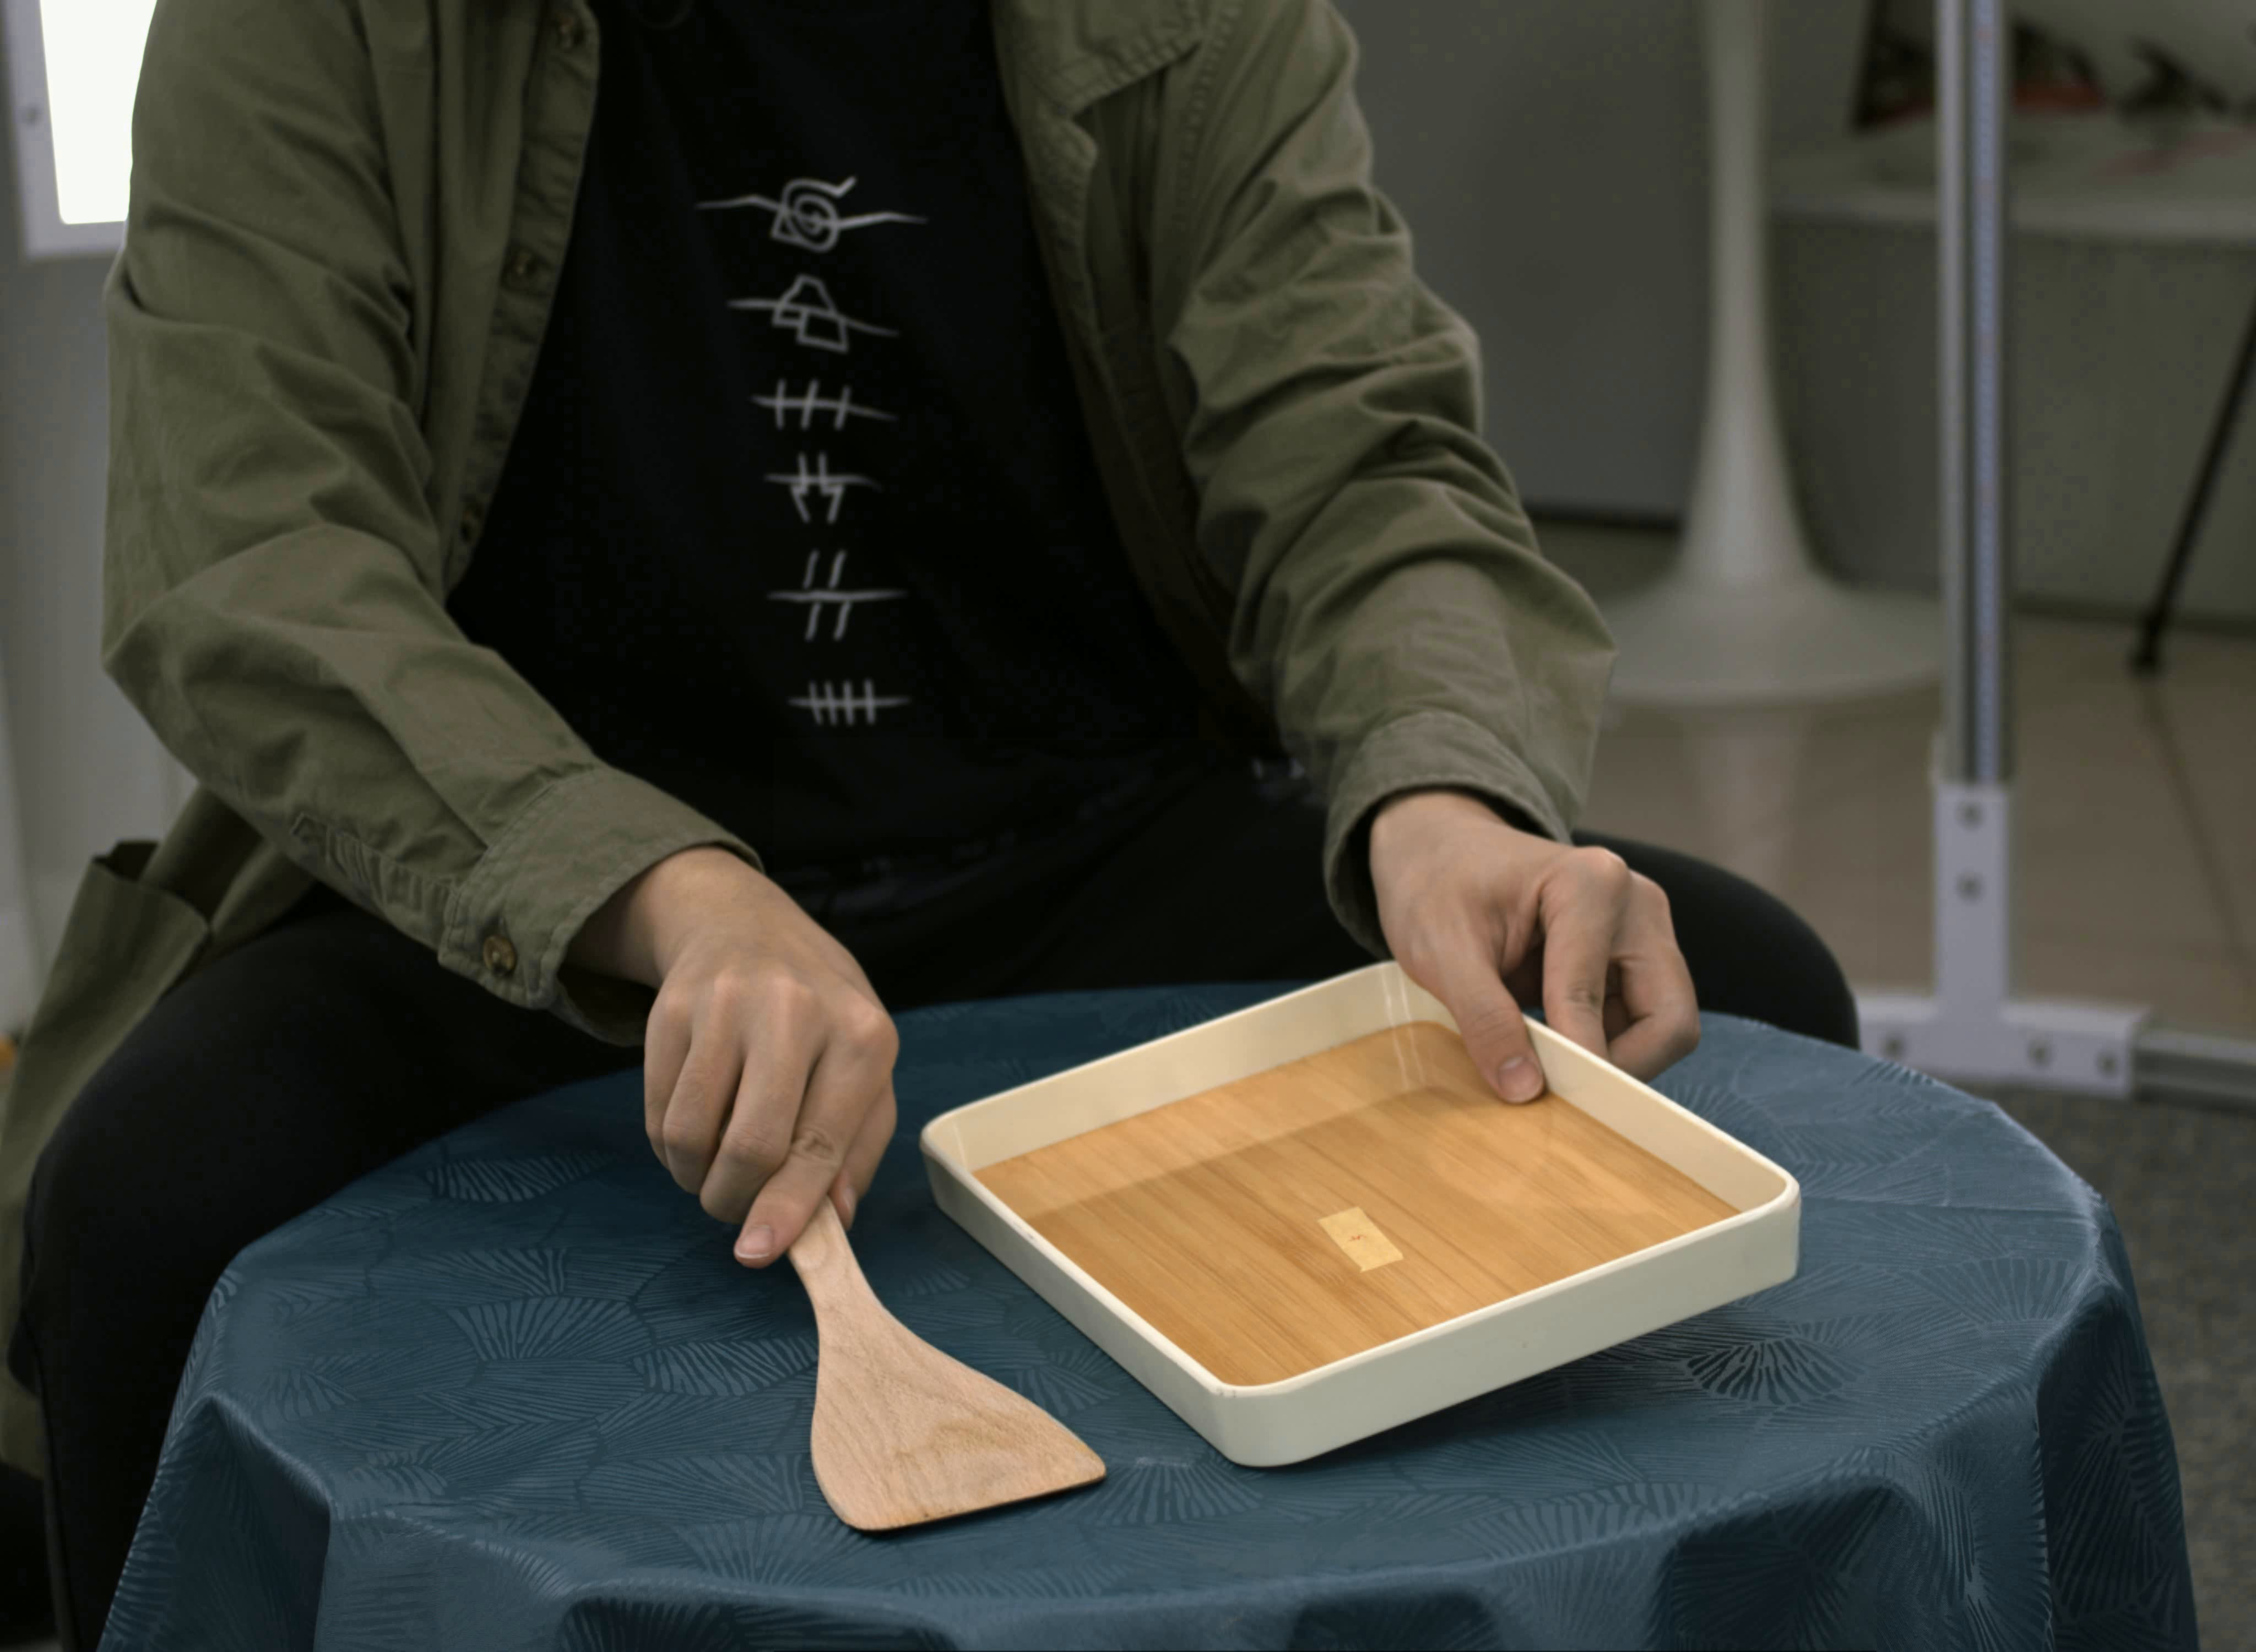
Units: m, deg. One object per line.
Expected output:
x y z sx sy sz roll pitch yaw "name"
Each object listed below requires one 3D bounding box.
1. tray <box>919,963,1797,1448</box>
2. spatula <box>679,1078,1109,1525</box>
0.064 0.111 1.667 0.188 0.027 0.303 -18 16 -15 "tray"
-0.087 0.138 1.640 0.078 0.017 0.331 -8 22 -16 "spatula"
